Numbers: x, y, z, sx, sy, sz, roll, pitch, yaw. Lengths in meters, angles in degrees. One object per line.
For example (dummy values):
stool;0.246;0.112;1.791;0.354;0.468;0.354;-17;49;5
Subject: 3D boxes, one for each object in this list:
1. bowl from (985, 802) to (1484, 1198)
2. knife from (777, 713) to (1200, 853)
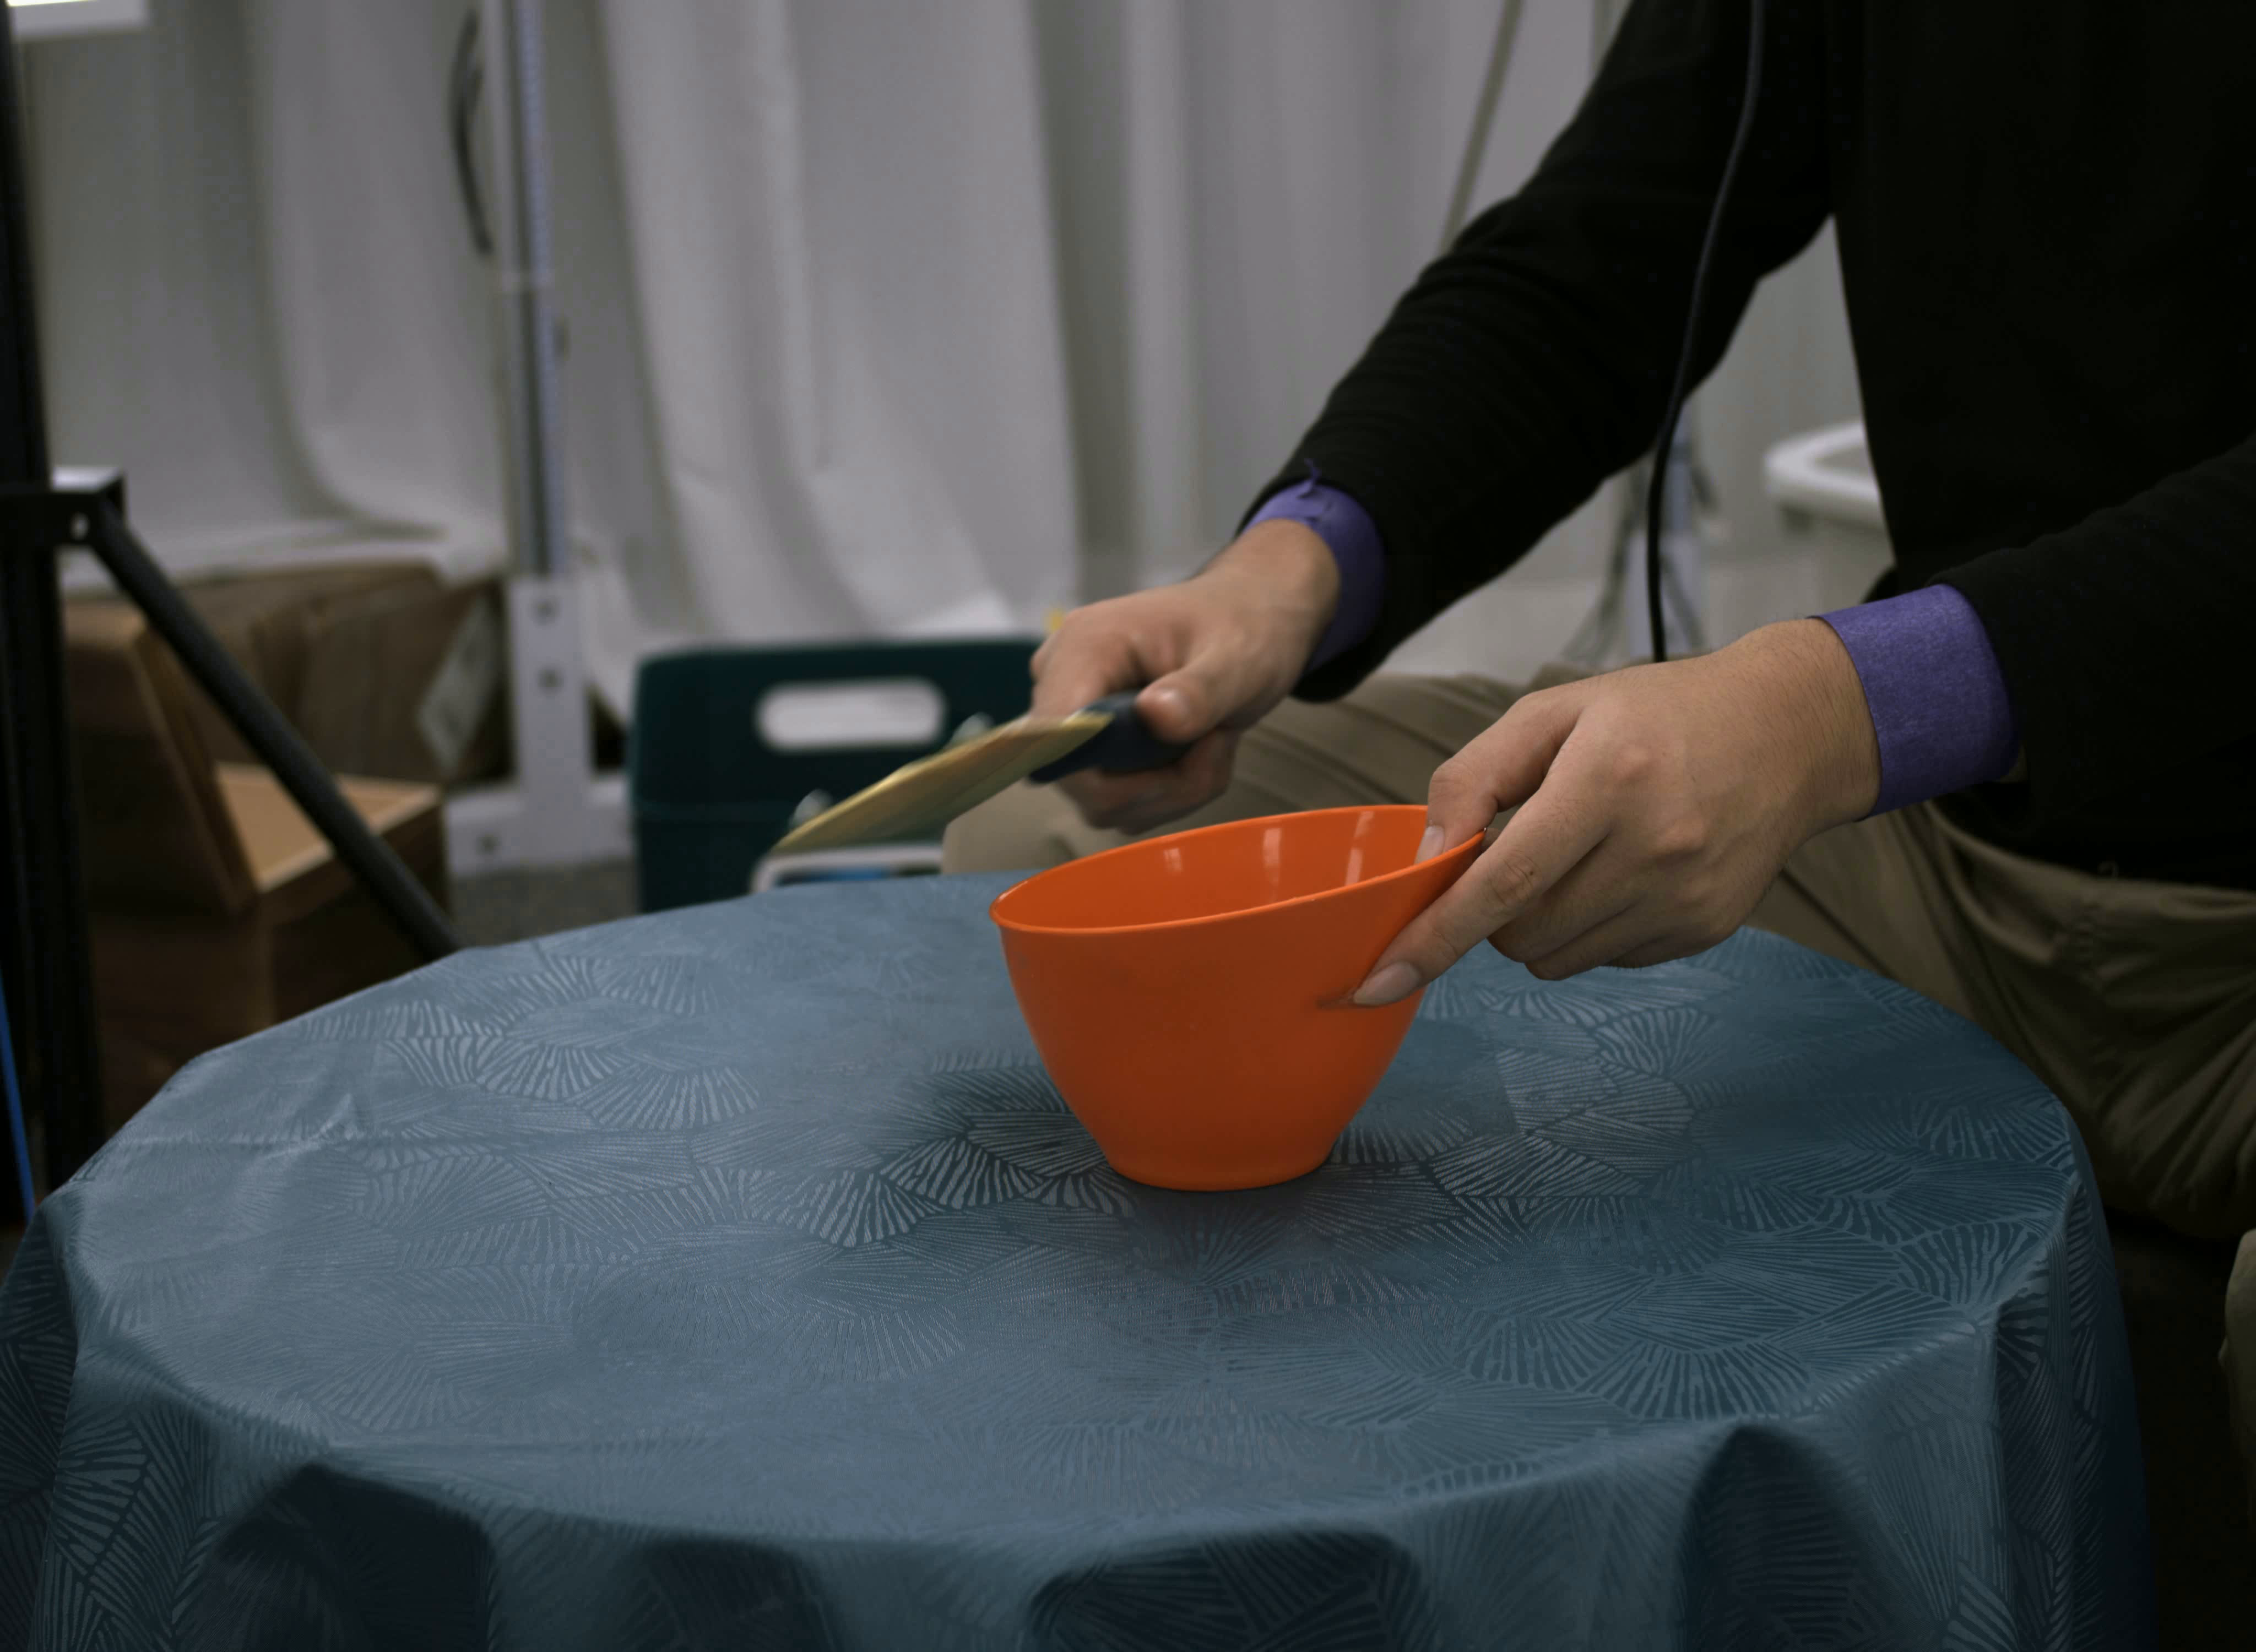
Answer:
bowl;0.033;0.052;1.562;0.147;0.104;0.149;-4;16;0
knife;-0.040;-0.011;1.673;0.082;0.027;0.285;-29;-7;20
